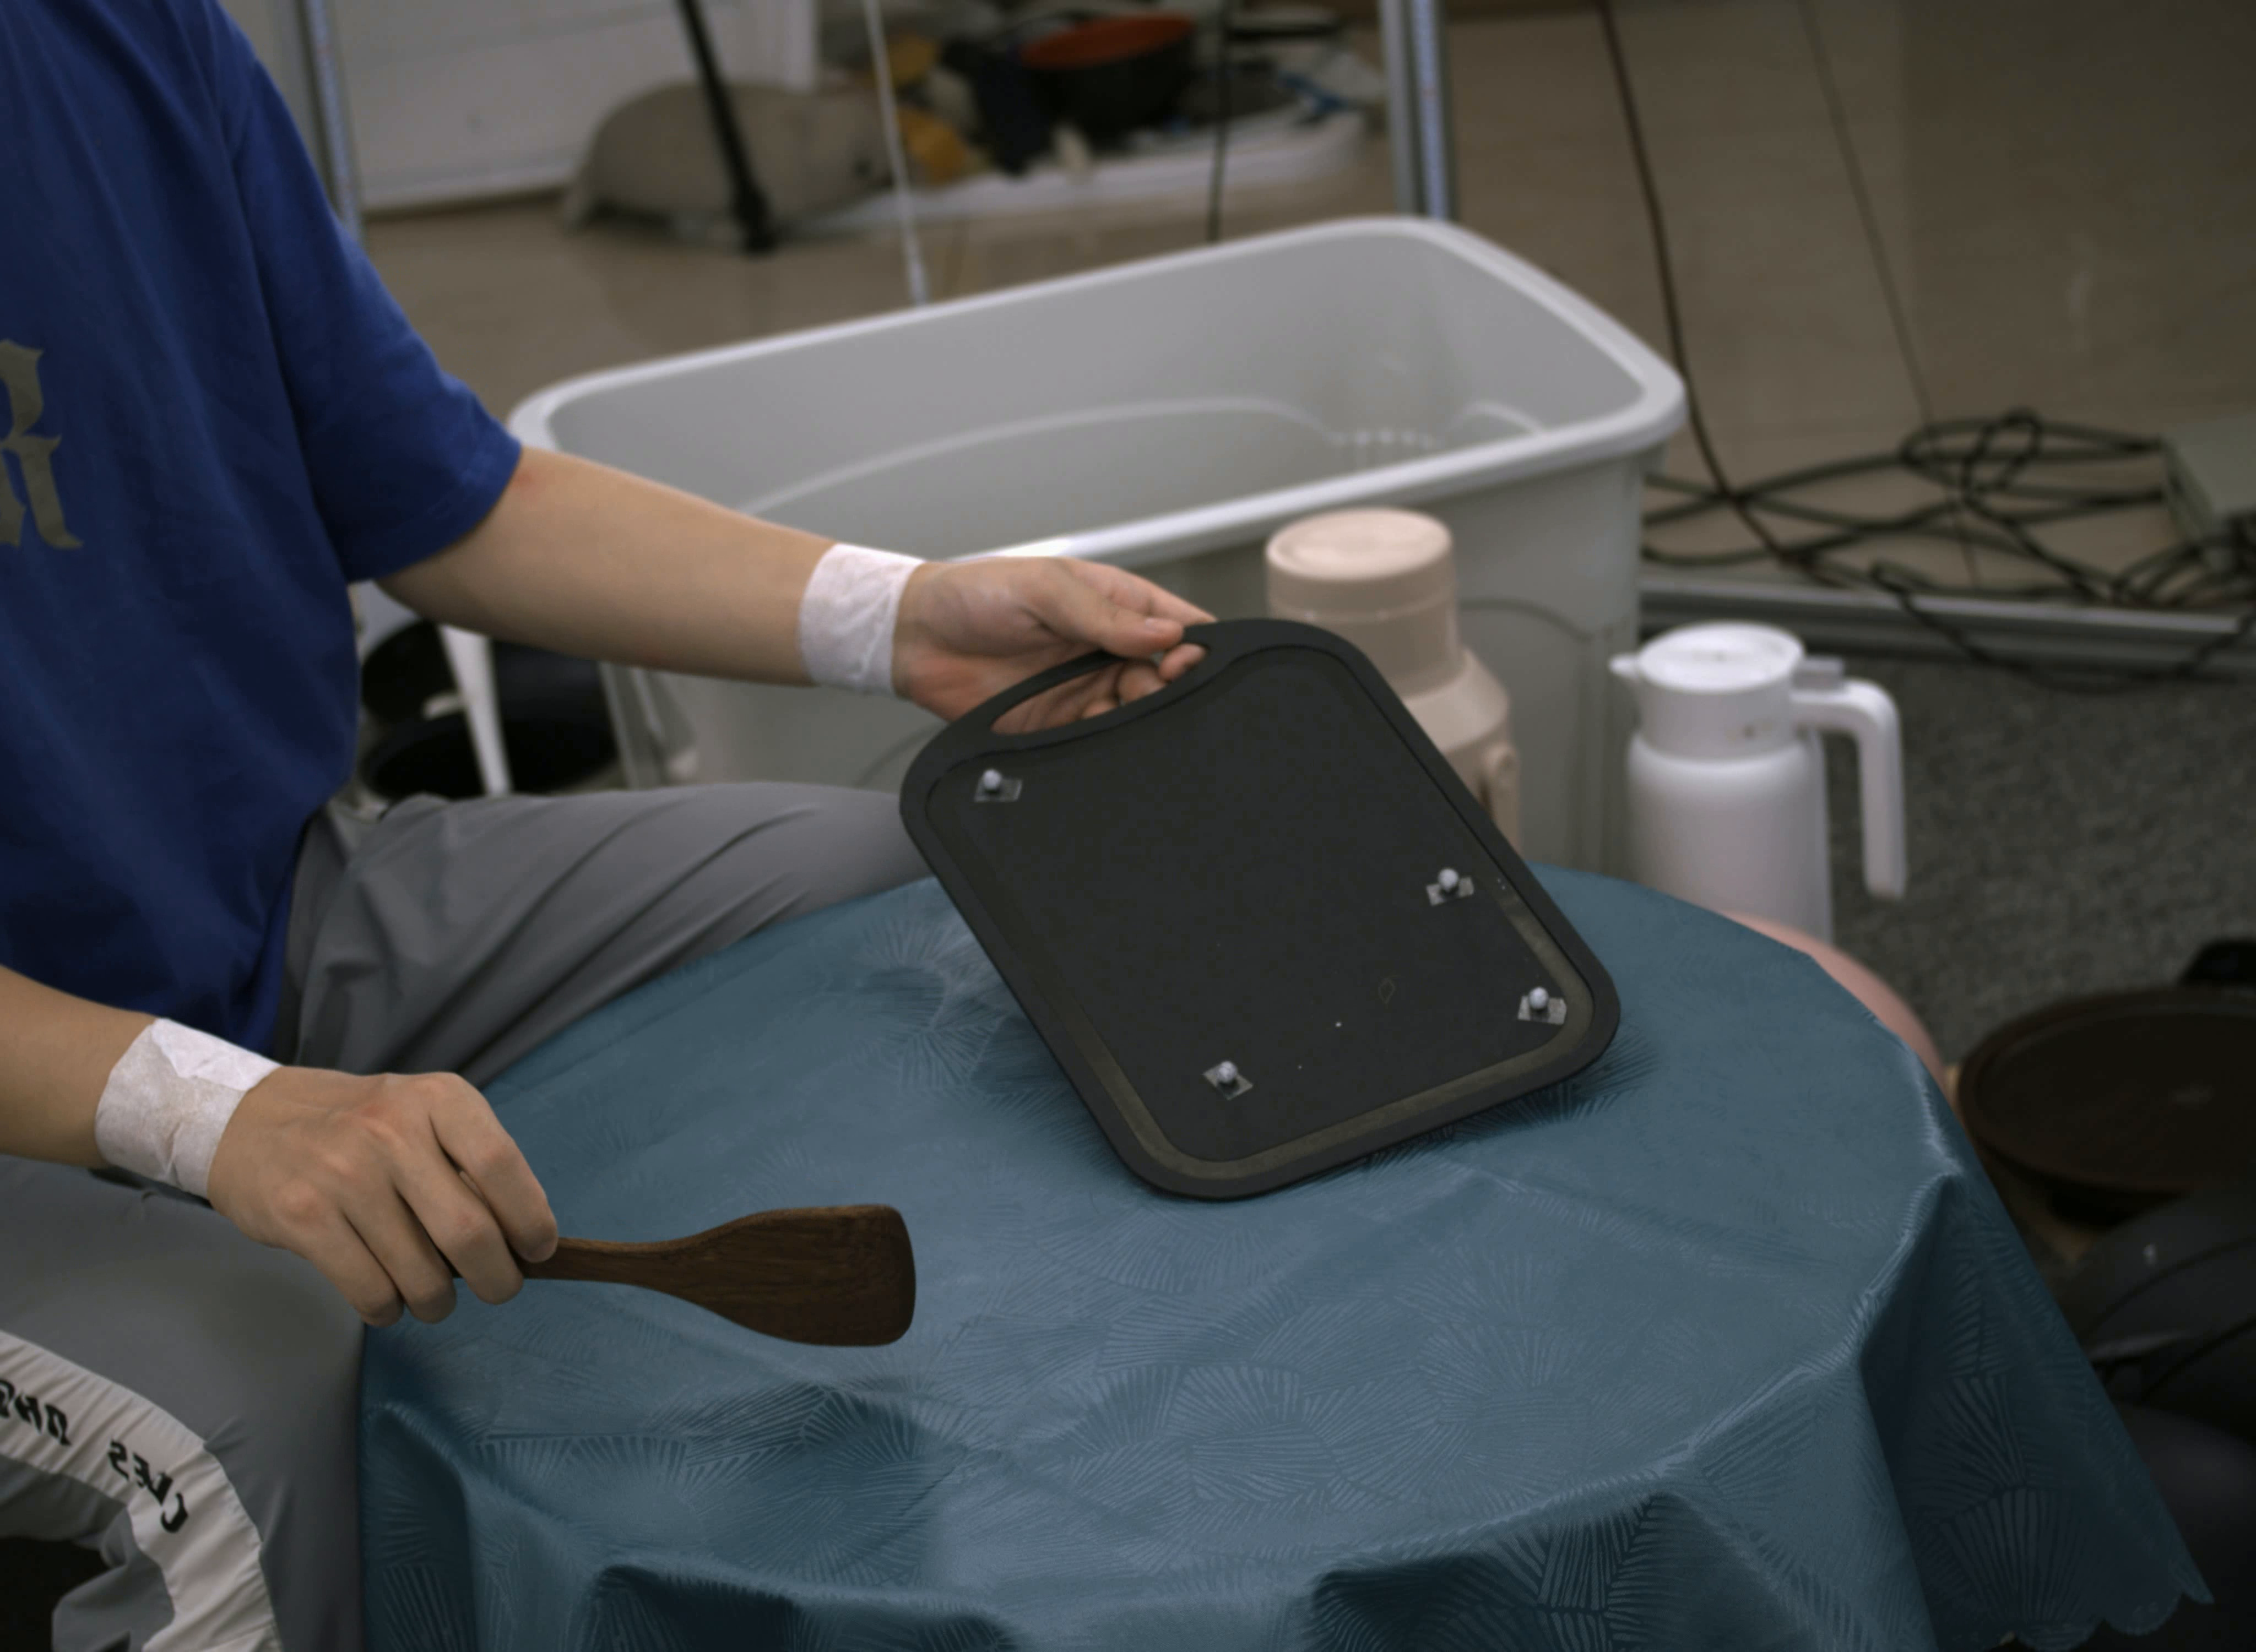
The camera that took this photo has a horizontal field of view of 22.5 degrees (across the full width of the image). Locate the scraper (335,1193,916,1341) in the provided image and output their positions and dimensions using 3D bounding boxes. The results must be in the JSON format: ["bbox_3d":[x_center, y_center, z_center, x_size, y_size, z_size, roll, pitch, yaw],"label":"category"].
[{"bbox_3d":[-0.180,0.154,2.022,0.211,0.077,0.010,3,47,8],"label":"scraper"}]

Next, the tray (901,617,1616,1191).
[{"bbox_3d":[0.043,0.020,2.260,0.210,0.010,0.320,-20,44,-14],"label":"tray"}]
